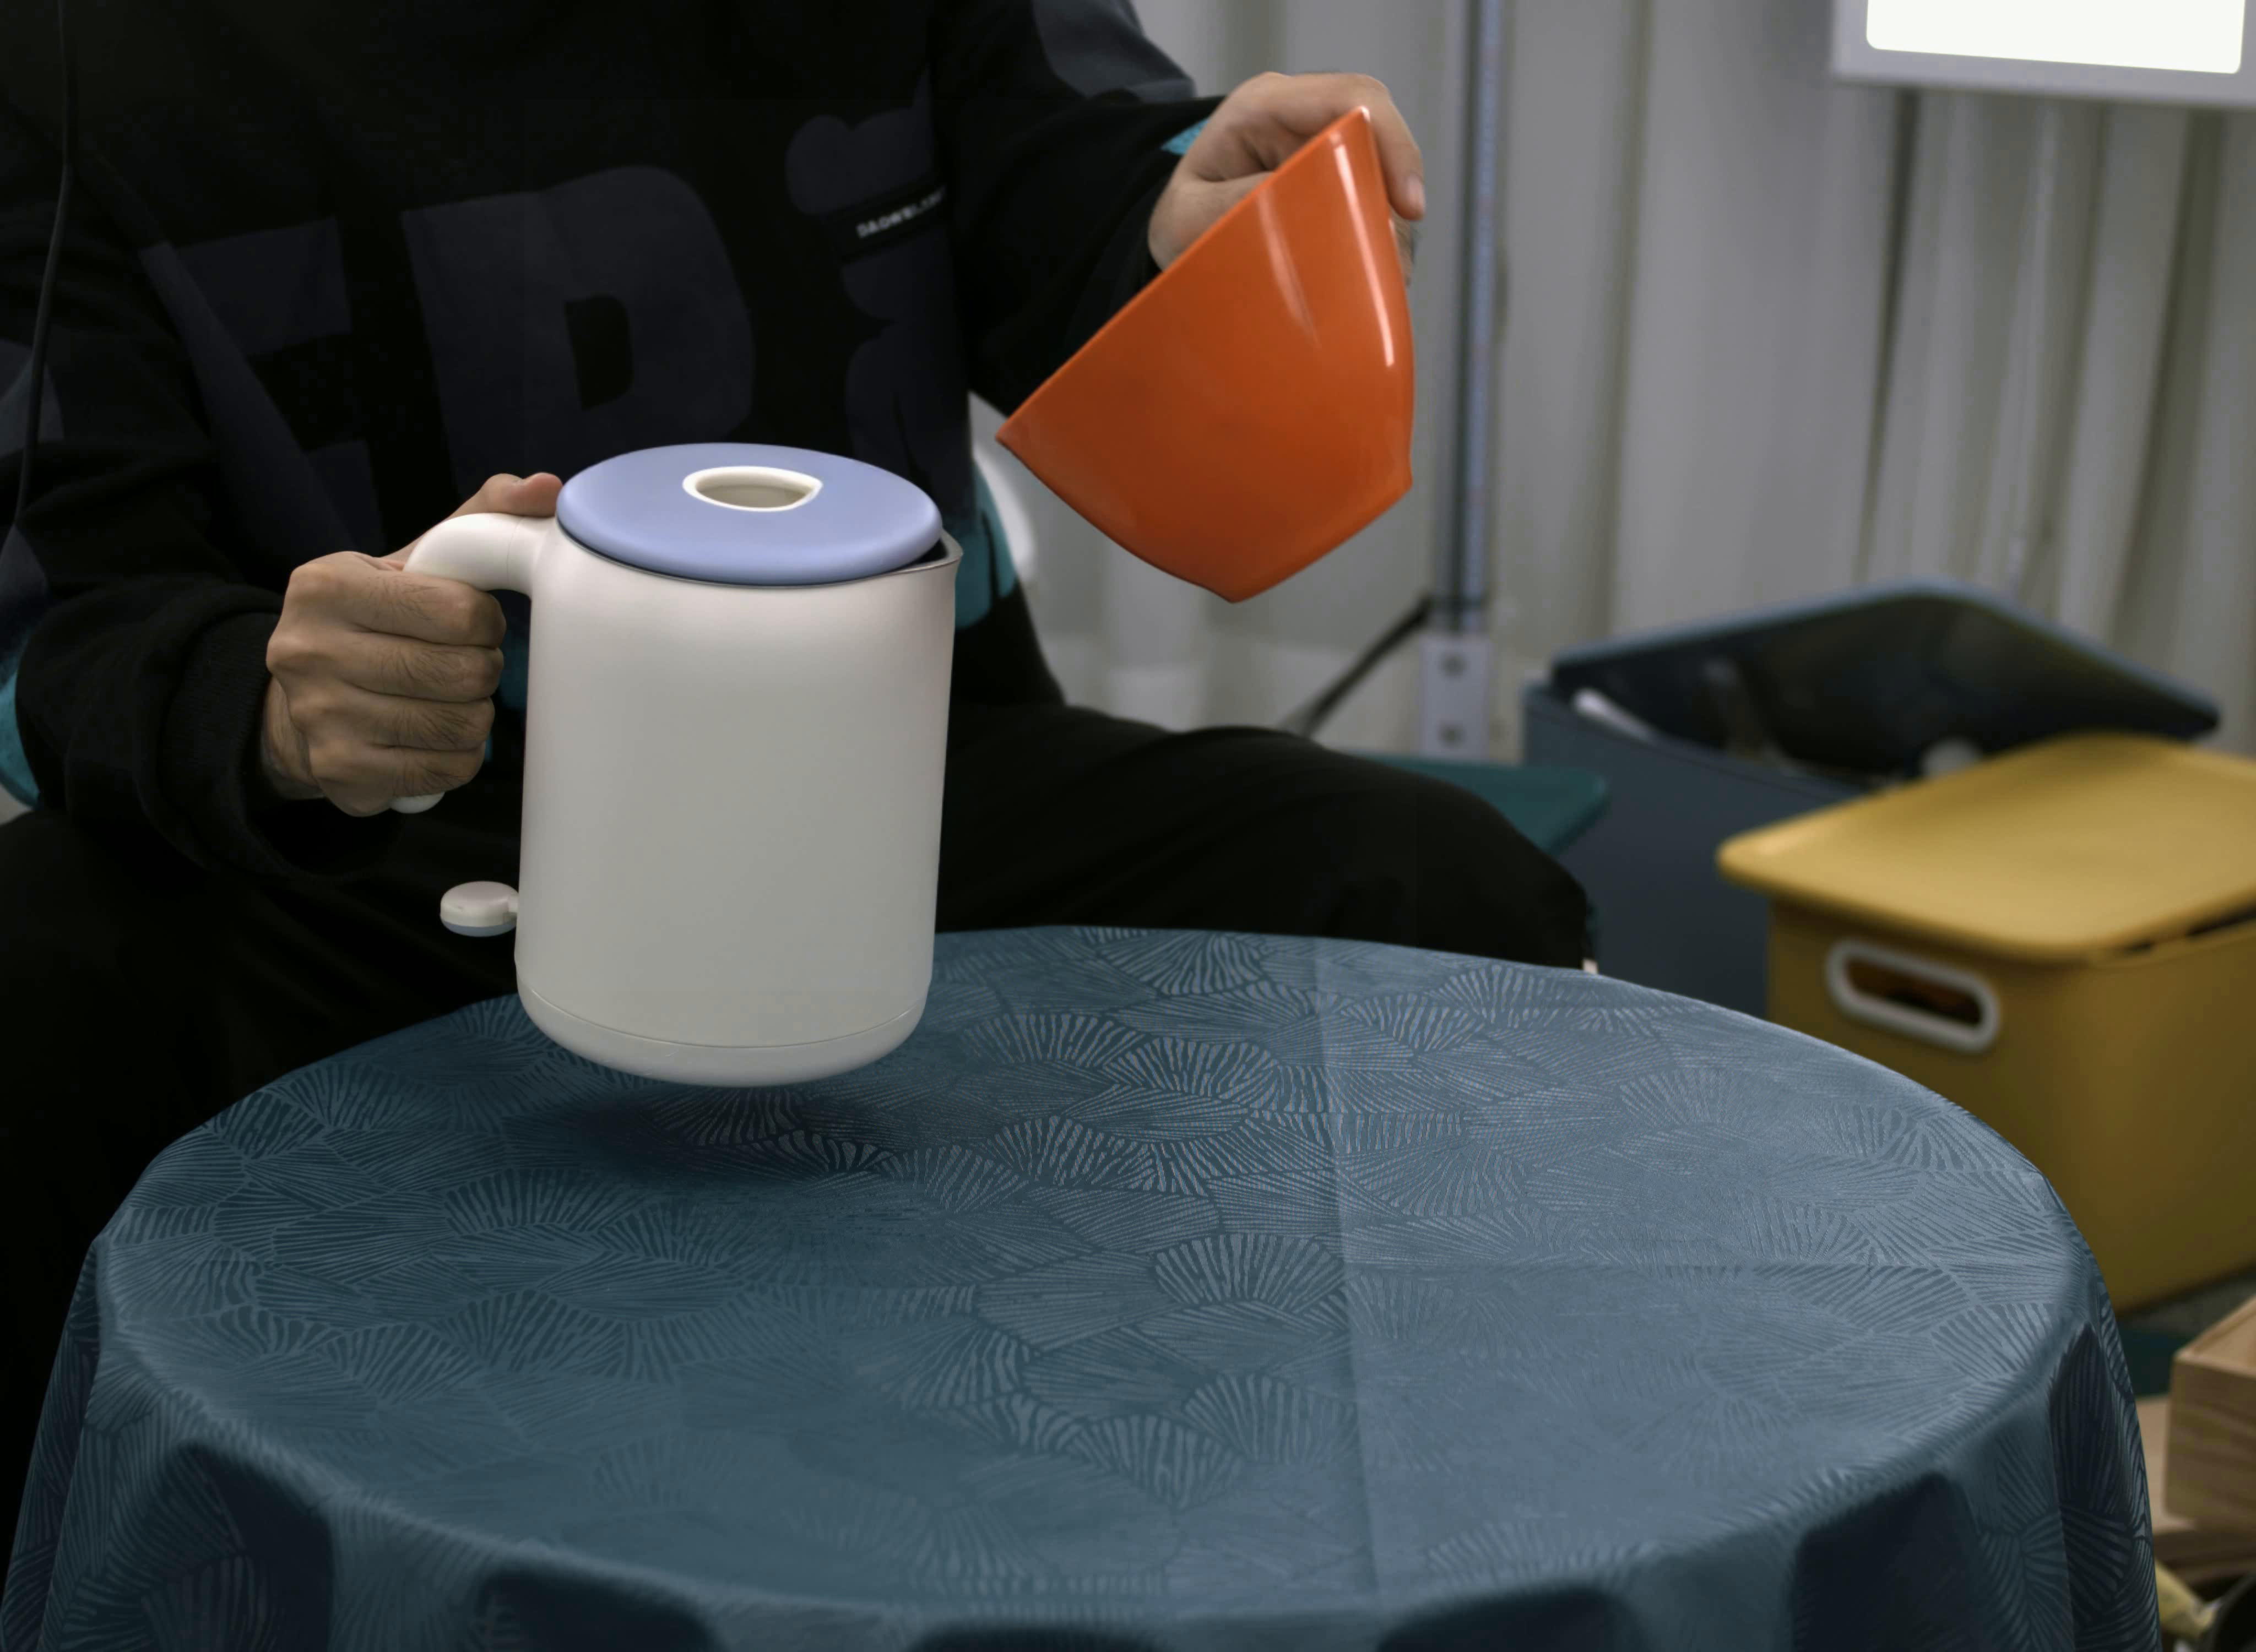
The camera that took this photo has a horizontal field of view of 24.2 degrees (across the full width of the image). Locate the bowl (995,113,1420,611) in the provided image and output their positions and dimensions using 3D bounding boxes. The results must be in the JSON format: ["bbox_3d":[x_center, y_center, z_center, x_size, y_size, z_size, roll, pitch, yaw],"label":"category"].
[{"bbox_3d":[0.039,-0.129,1.567,0.148,0.105,0.147,-32,8,6],"label":"bowl"}]

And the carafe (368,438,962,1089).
[{"bbox_3d":[-0.145,-0.023,1.633,0.190,0.184,0.132,7,20,12],"label":"carafe"}]
